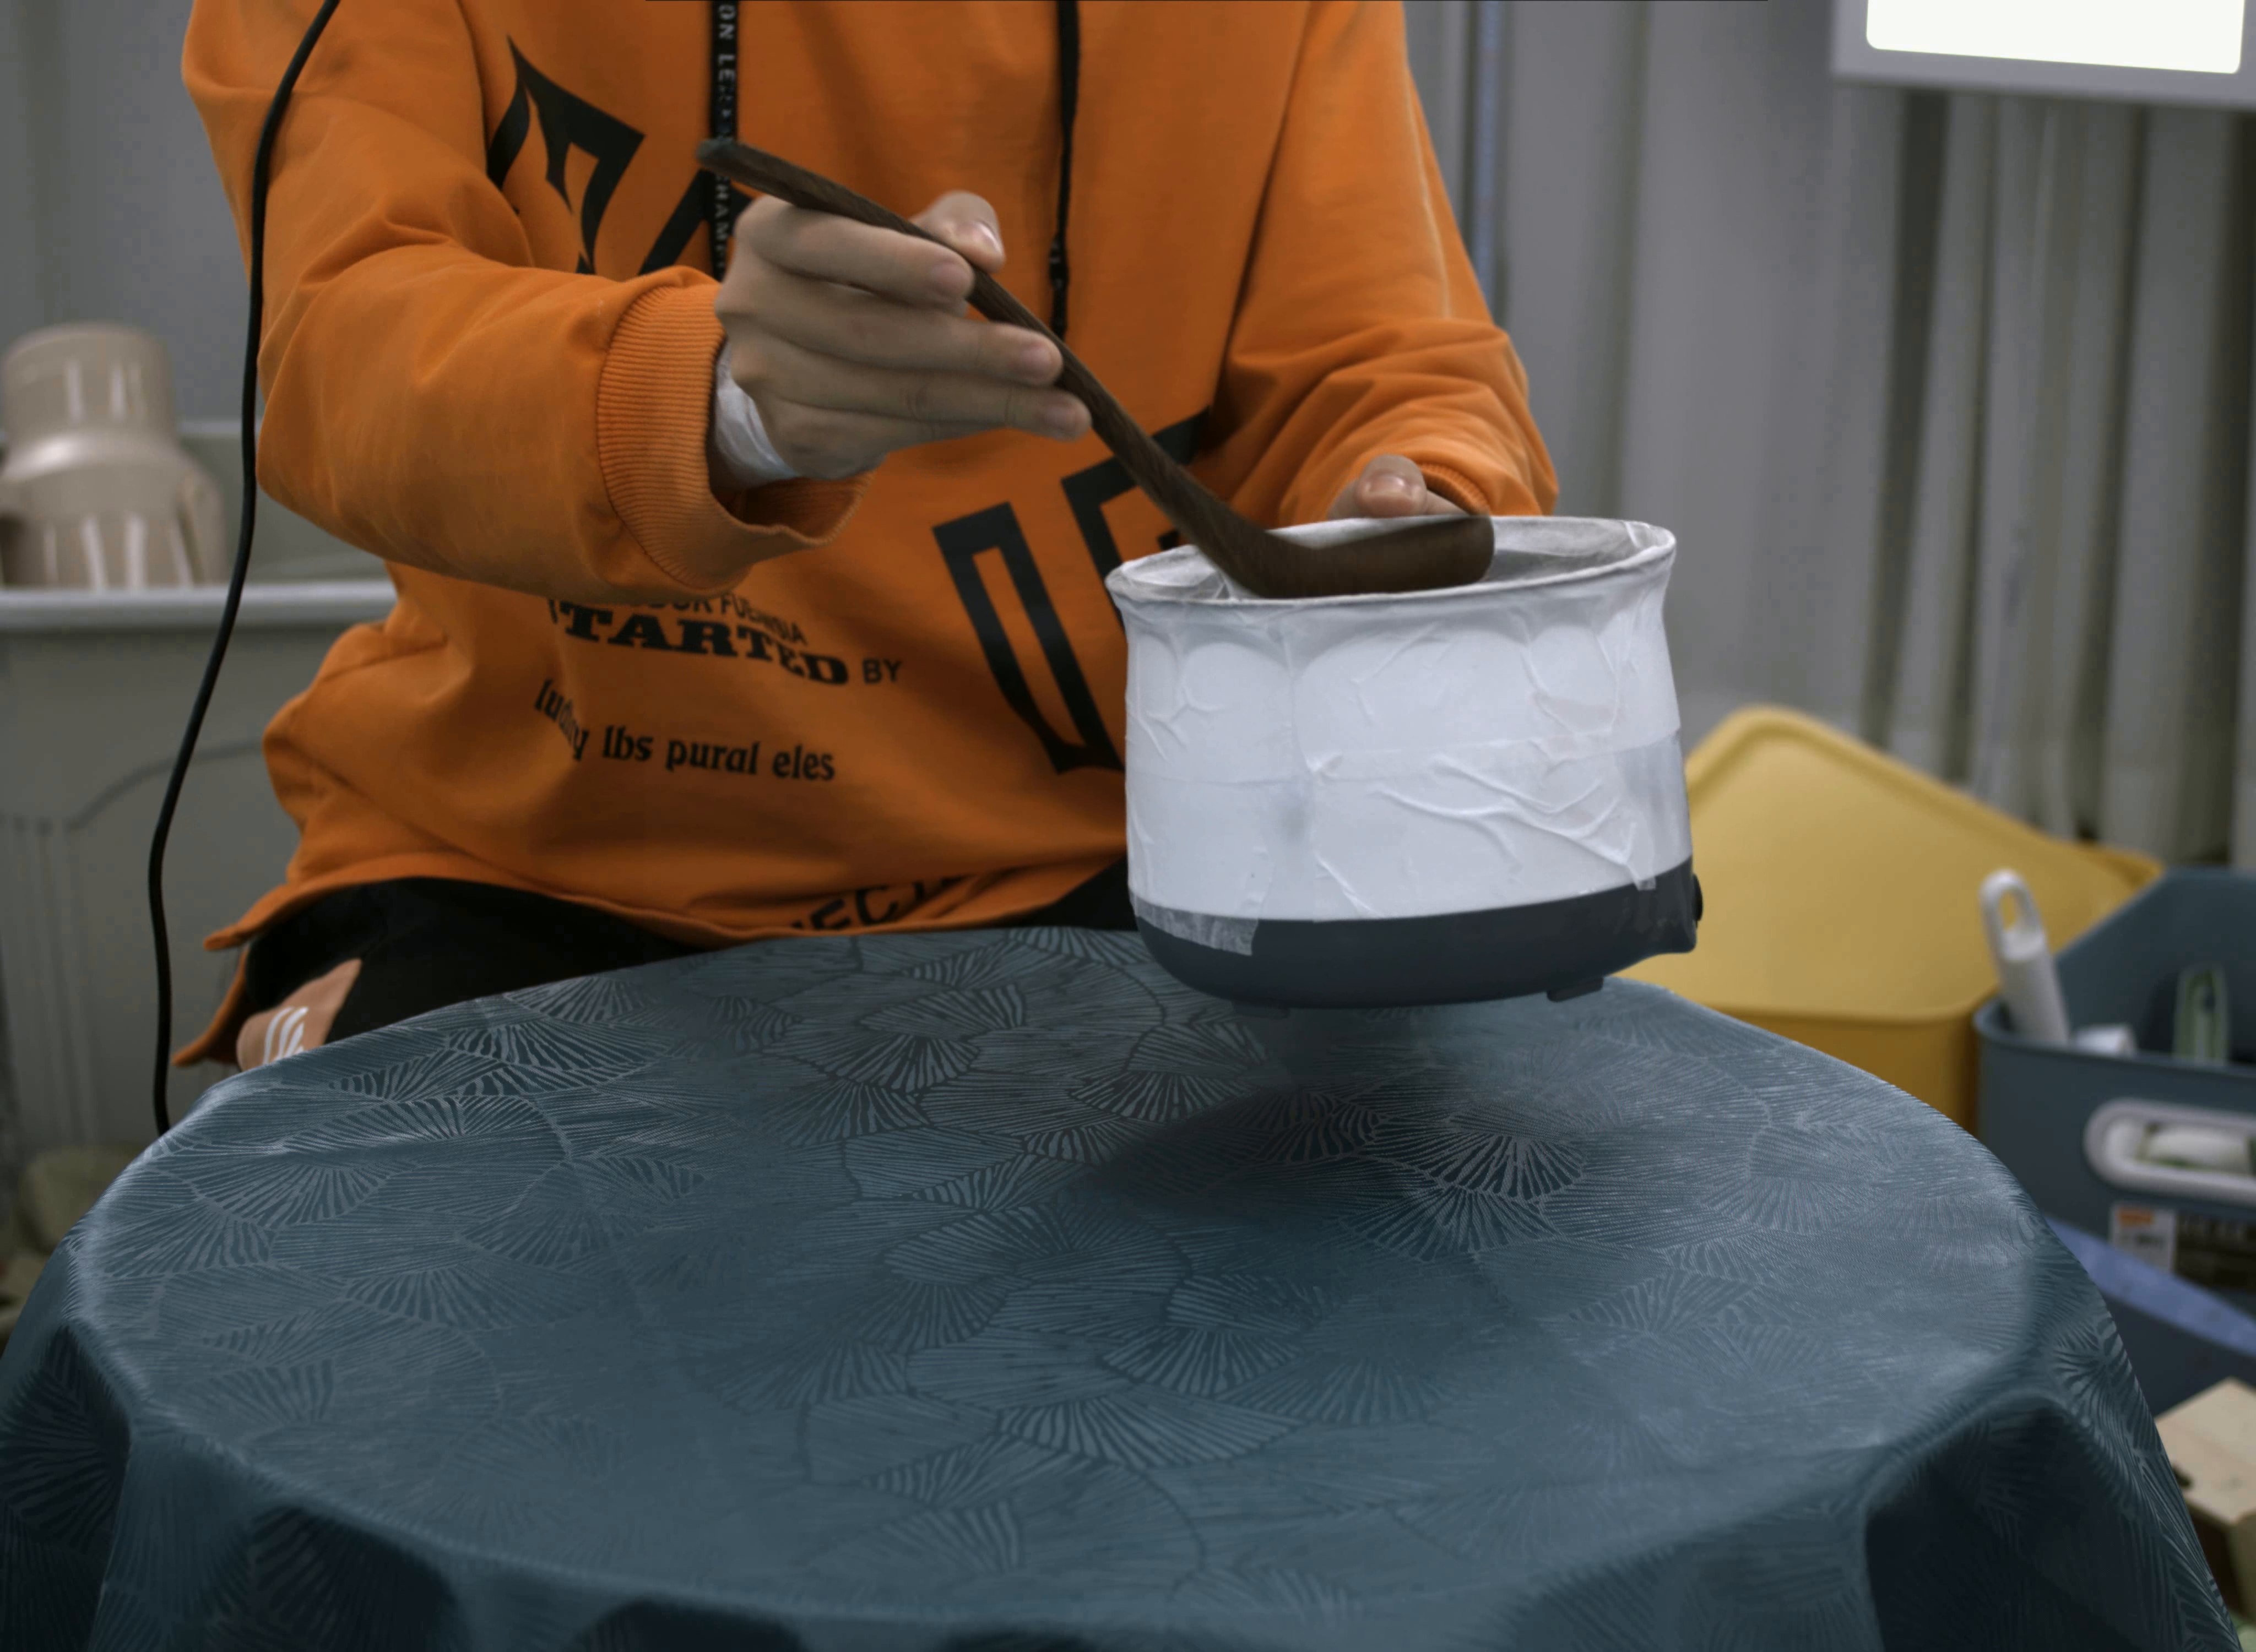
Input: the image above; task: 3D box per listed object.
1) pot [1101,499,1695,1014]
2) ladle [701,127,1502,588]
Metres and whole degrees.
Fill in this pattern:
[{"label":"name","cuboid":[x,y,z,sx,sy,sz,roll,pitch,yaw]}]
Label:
[{"label":"pot","cuboid":[0.085,-0.027,1.657,0.178,0.137,0.233,-3,10,1]},{"label":"ladle","cuboid":[-0.003,-0.145,1.583,0.276,0.071,0.075,39,-13,-18]}]
